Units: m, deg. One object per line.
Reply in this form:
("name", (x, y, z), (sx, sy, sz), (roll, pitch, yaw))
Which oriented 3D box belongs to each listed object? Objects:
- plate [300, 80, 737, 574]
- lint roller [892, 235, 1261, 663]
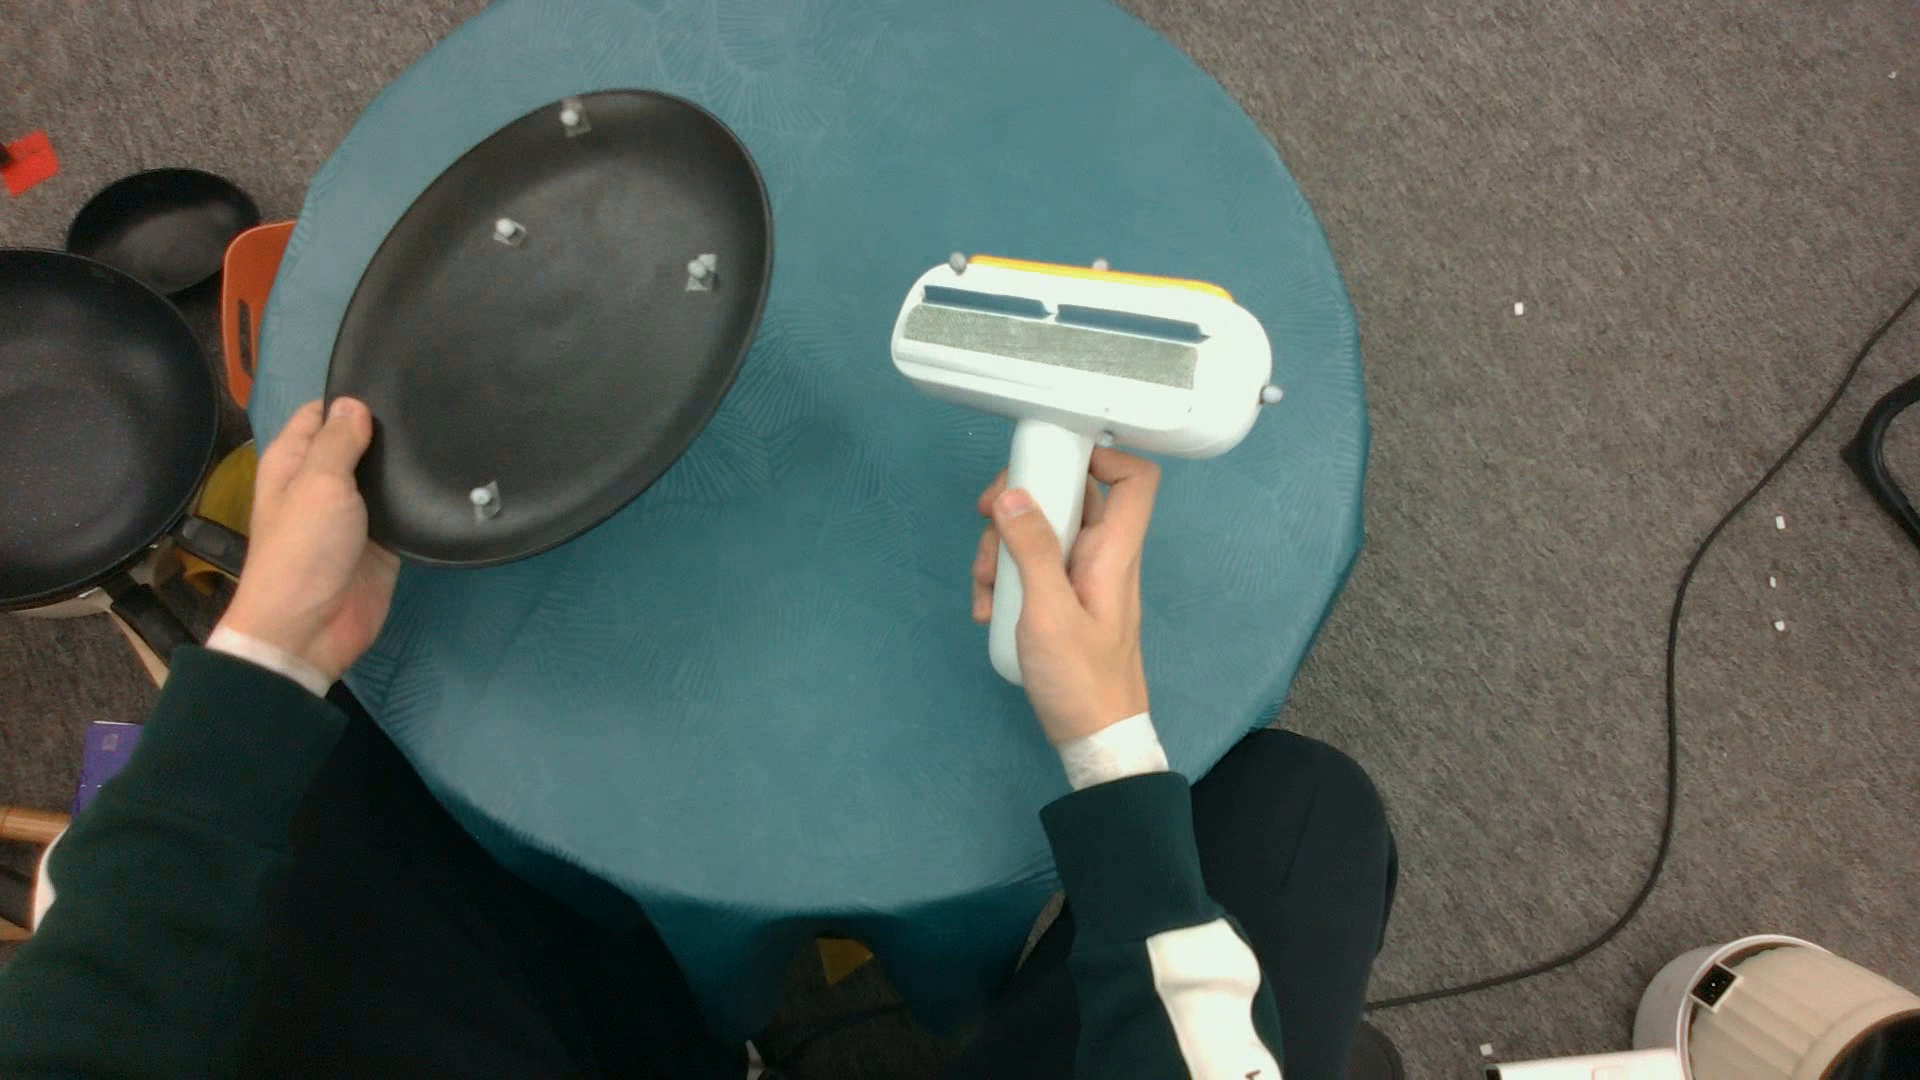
("plate", (-0.199, -0.098, 0.619), (0.244, 0.023, 0.245), (-10, 66, 23))
("lint roller", (0.039, -0.031, 0.630), (0.193, 0.192, 0.074), (24, 20, 38))
